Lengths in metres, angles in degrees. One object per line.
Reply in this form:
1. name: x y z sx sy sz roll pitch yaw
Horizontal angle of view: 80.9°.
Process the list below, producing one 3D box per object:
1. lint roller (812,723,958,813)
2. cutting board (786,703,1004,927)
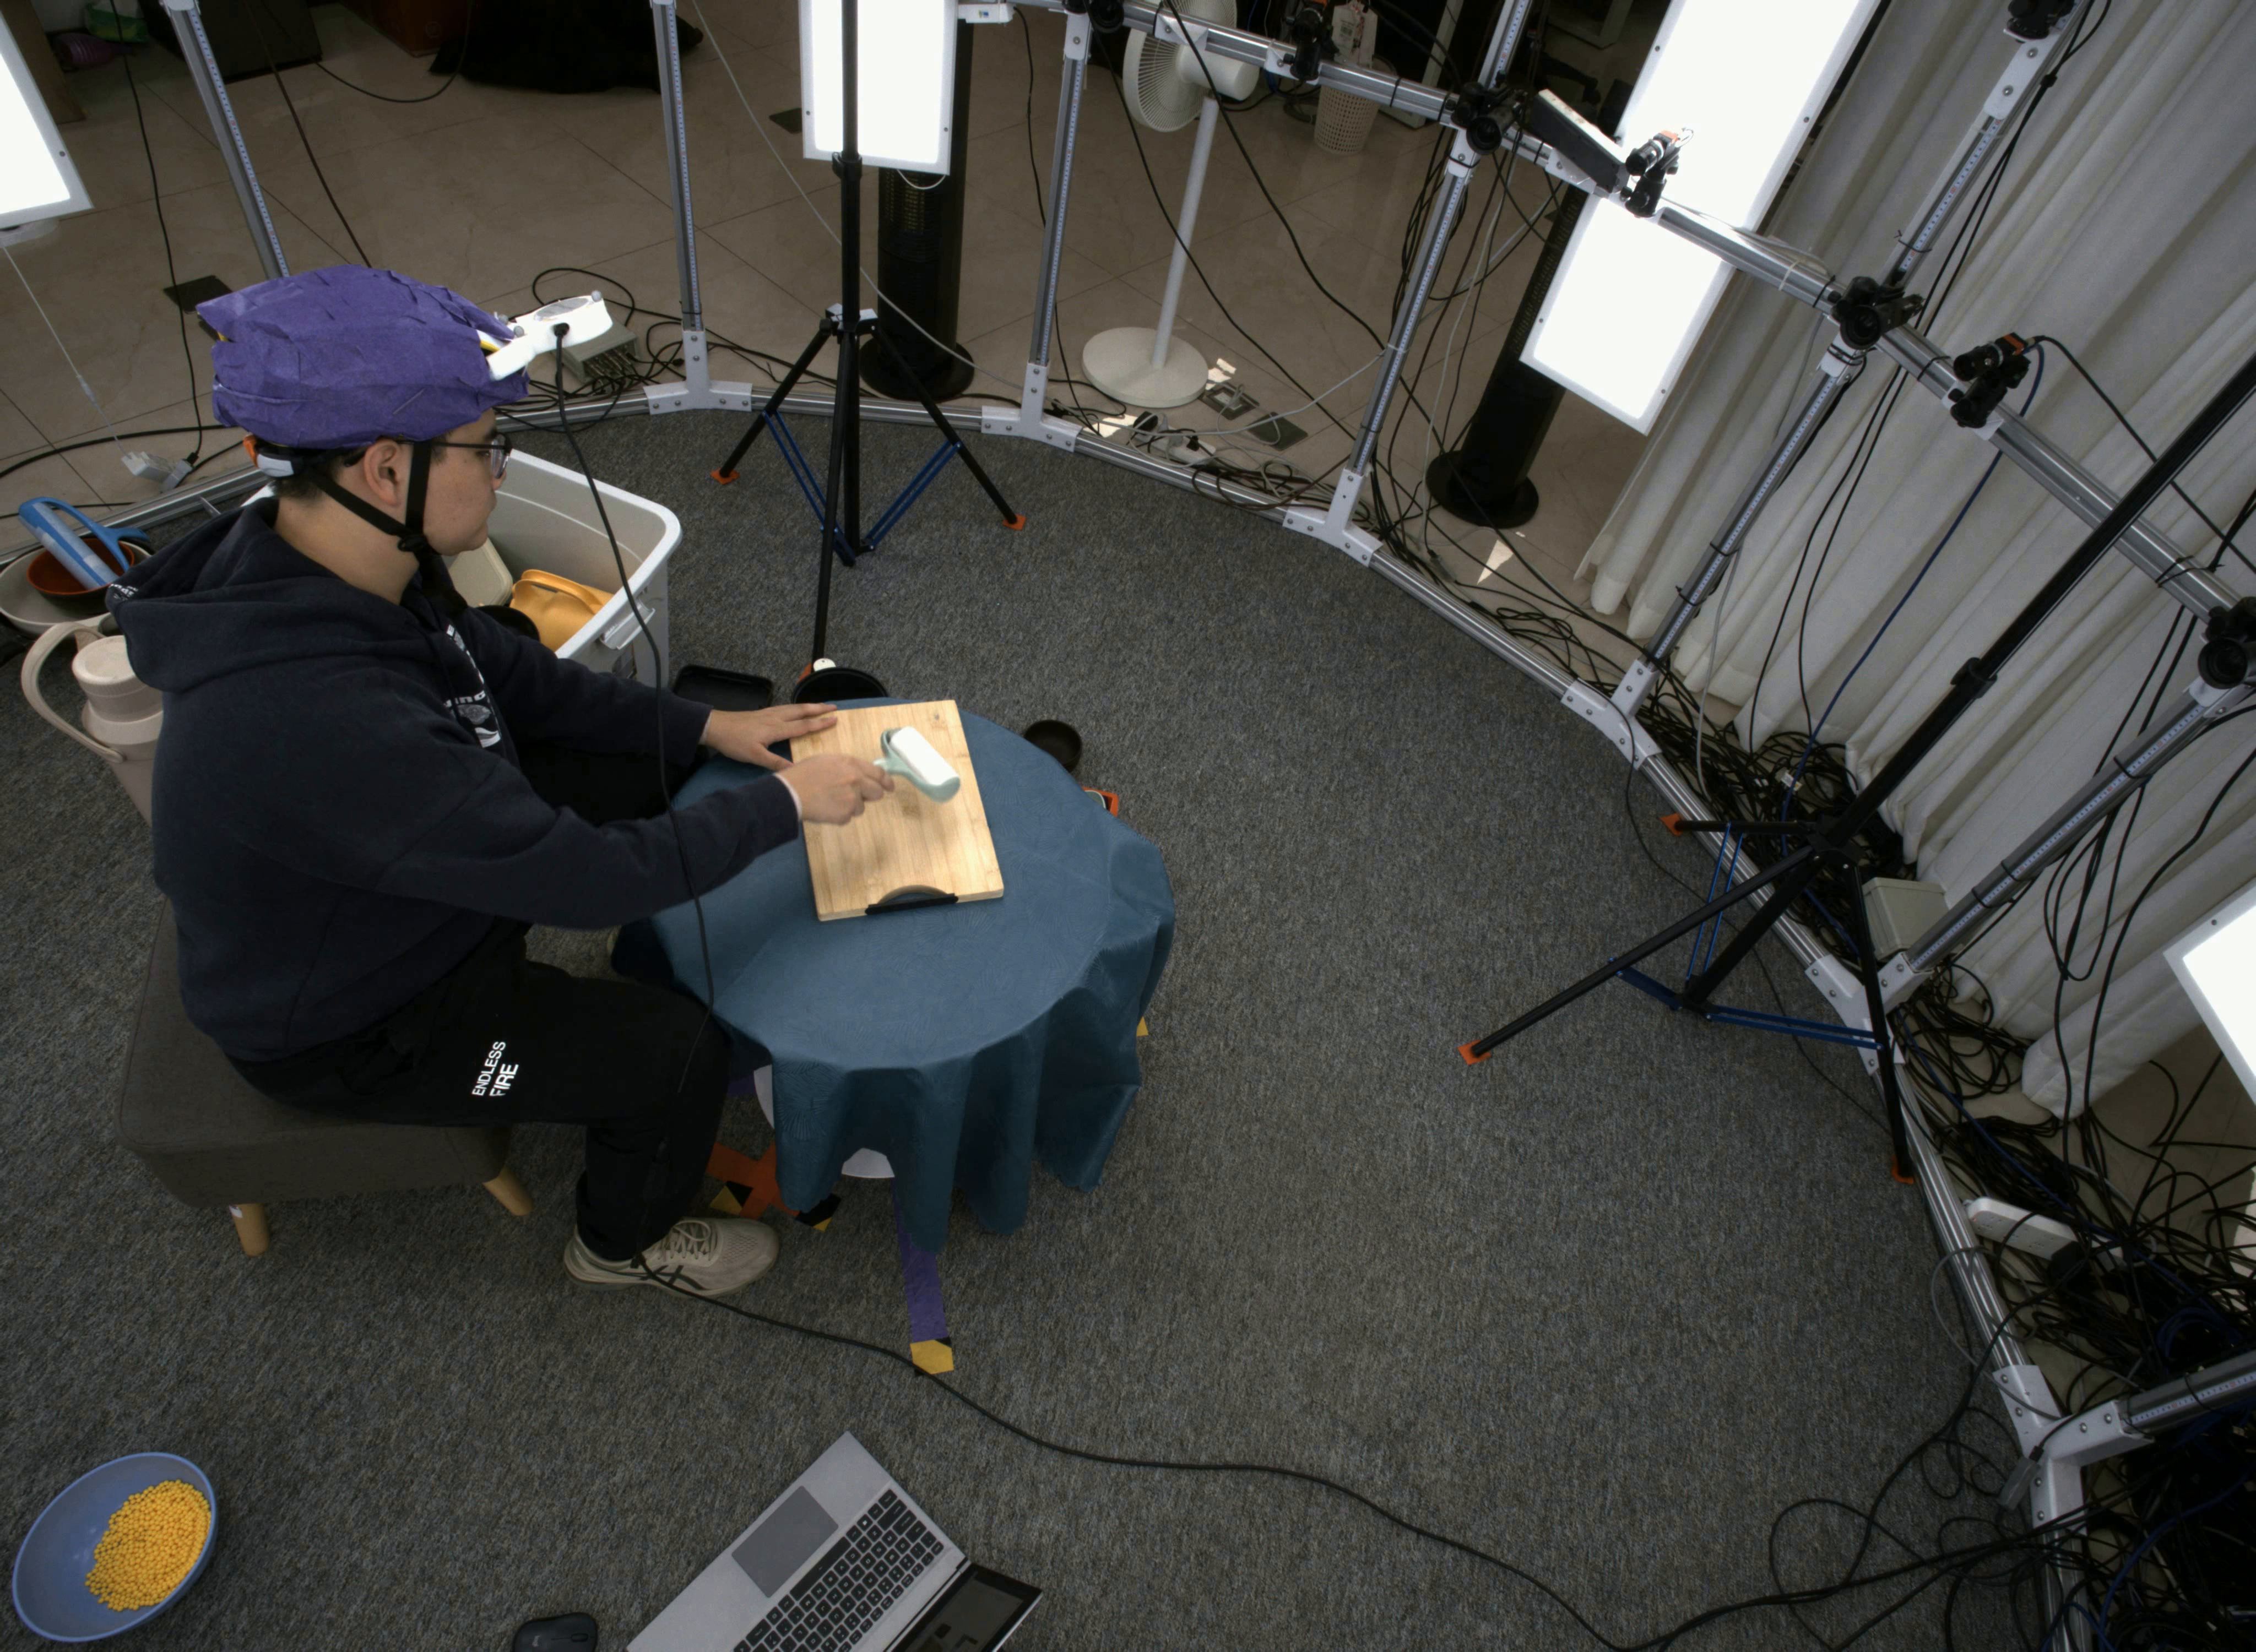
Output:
1. lint roller: -0.320 -0.066 1.652 0.114 0.049 0.199 48 40 18
2. cutting board: -0.320 -0.027 1.756 0.251 0.024 0.340 -8 56 -19
